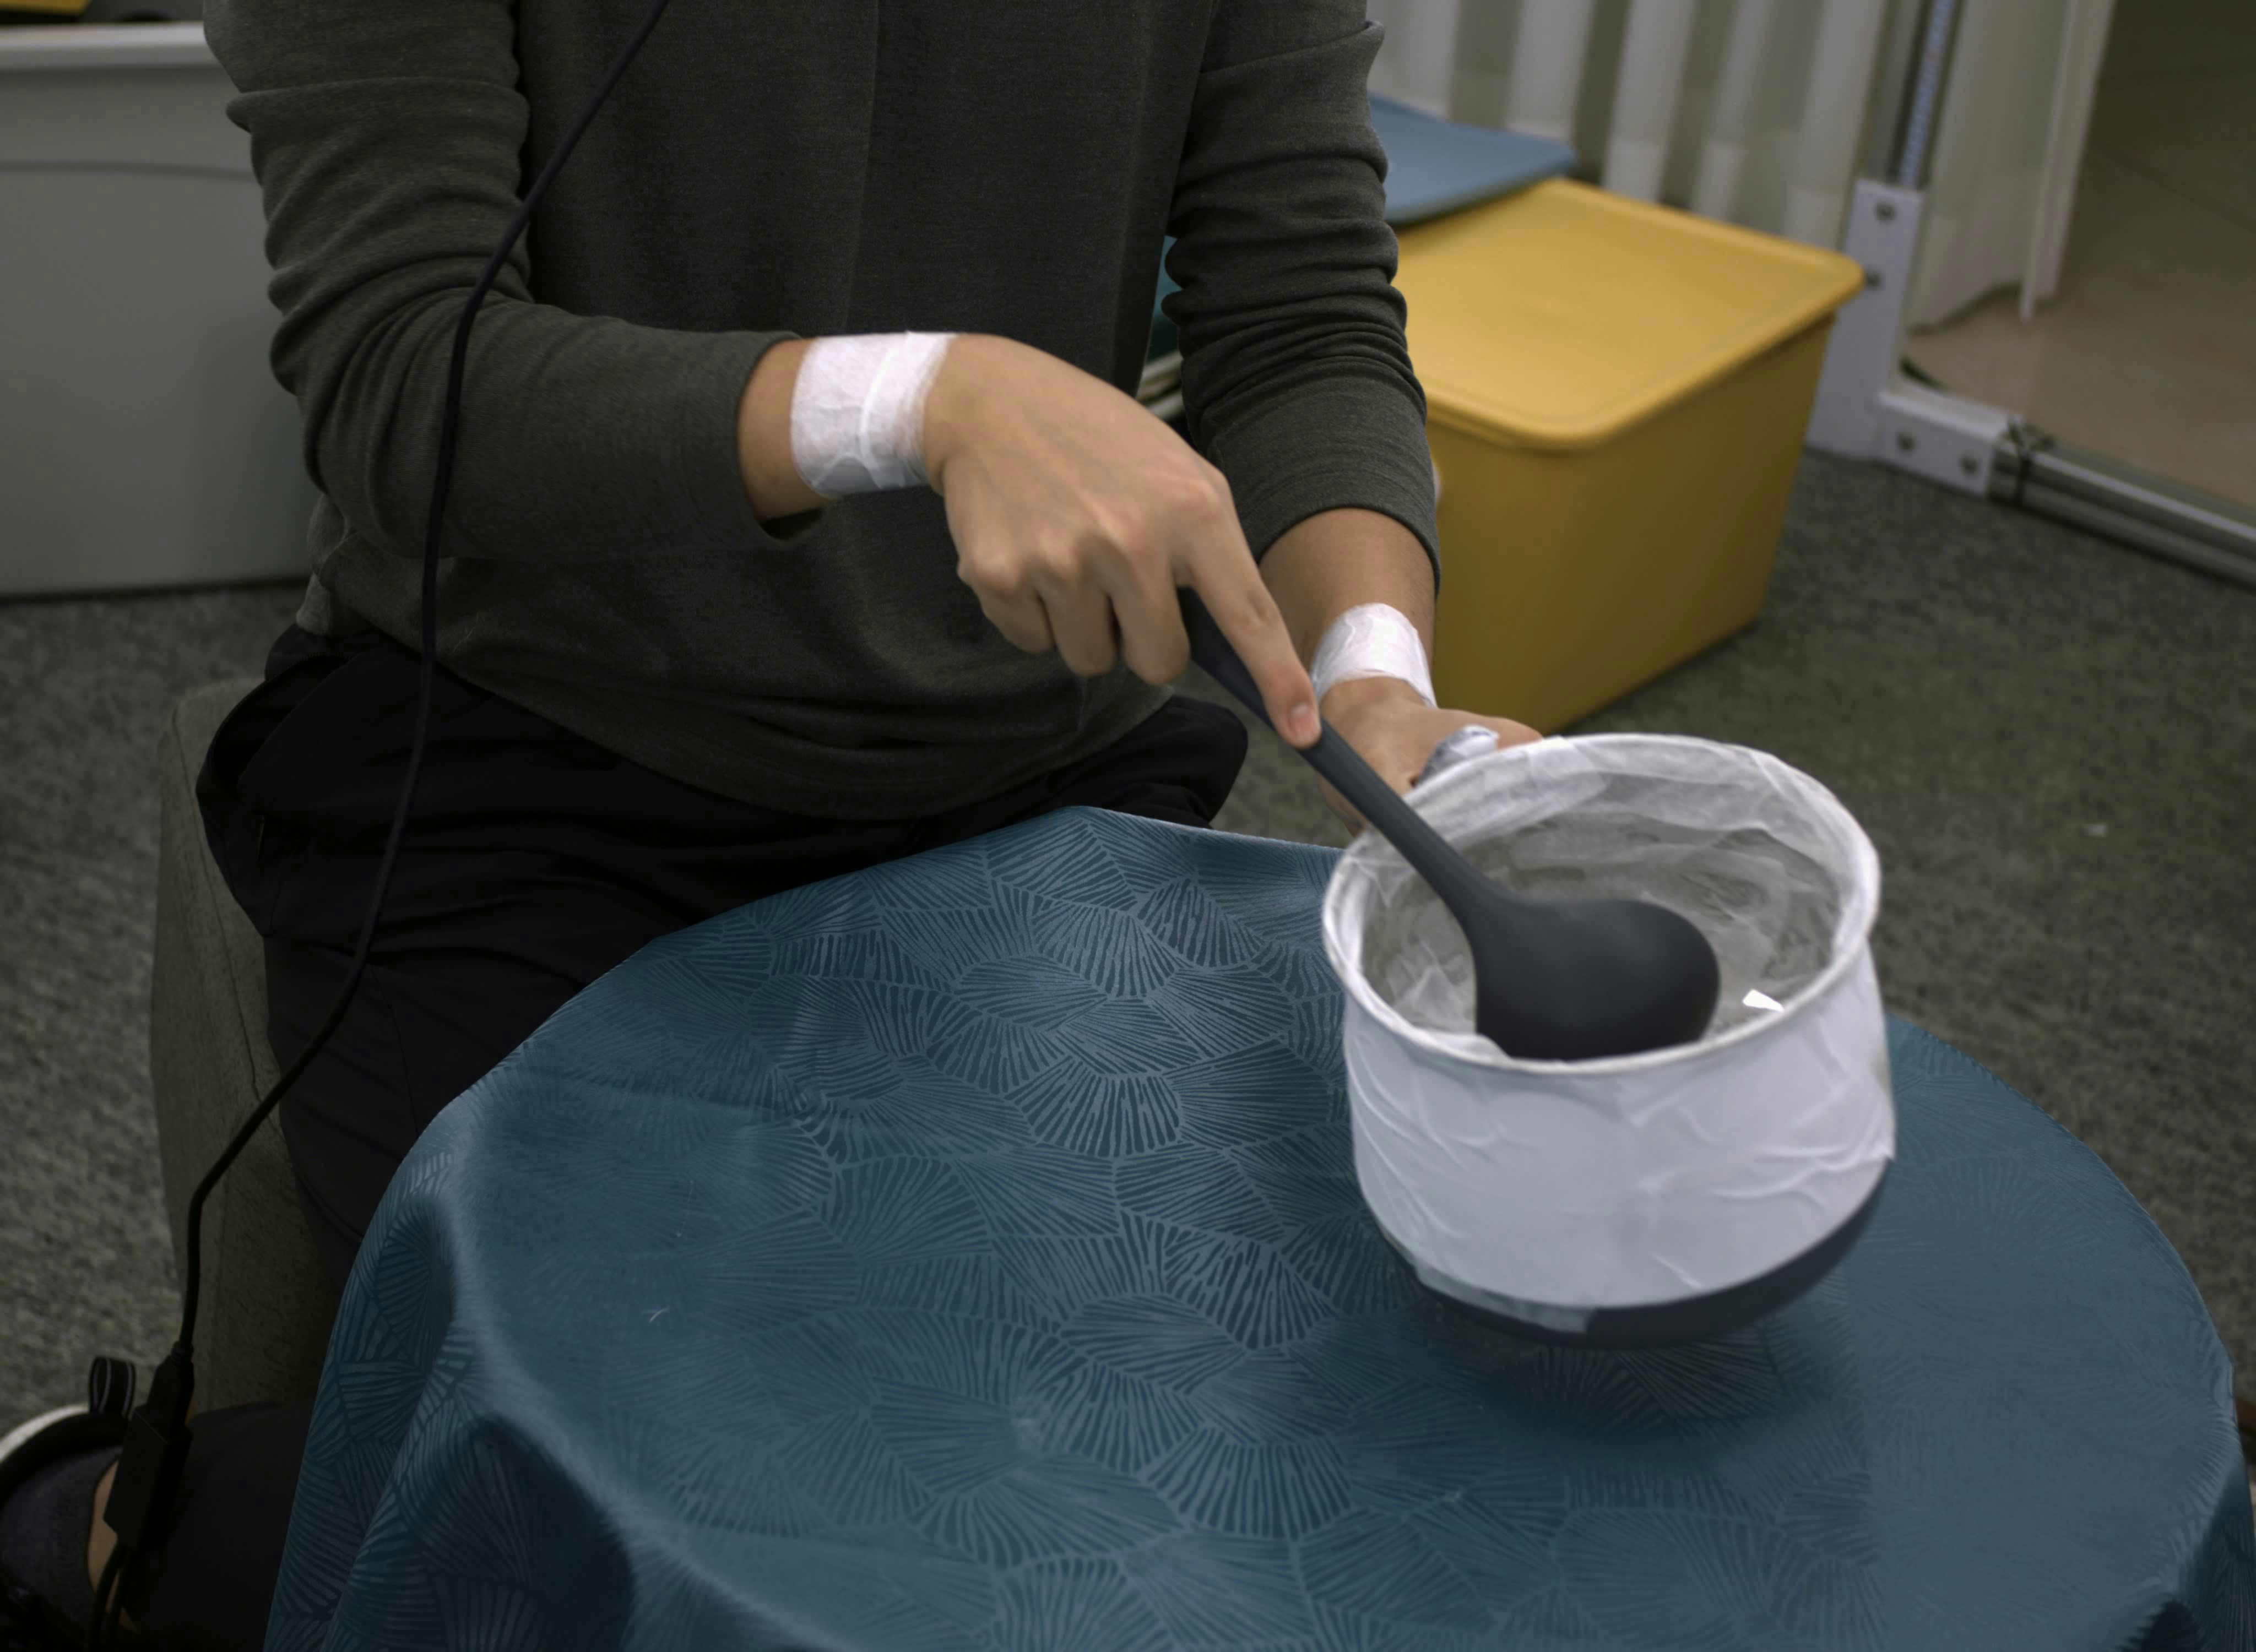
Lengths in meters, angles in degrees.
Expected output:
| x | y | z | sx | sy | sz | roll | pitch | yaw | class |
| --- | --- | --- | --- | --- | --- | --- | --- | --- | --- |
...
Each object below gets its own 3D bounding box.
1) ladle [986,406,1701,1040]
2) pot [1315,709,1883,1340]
| x | y | z | sx | sy | sz | roll | pitch | yaw | class |
| --- | --- | --- | --- | --- | --- | --- | --- | --- | --- |
| 0.062 | -0.034 | 1.766 | 0.316 | 0.086 | 0.063 | 44 | -3 | 26 | ladle |
| 0.143 | 0.055 | 1.739 | 0.178 | 0.136 | 0.236 | -18 | 36 | -14 | pot |
